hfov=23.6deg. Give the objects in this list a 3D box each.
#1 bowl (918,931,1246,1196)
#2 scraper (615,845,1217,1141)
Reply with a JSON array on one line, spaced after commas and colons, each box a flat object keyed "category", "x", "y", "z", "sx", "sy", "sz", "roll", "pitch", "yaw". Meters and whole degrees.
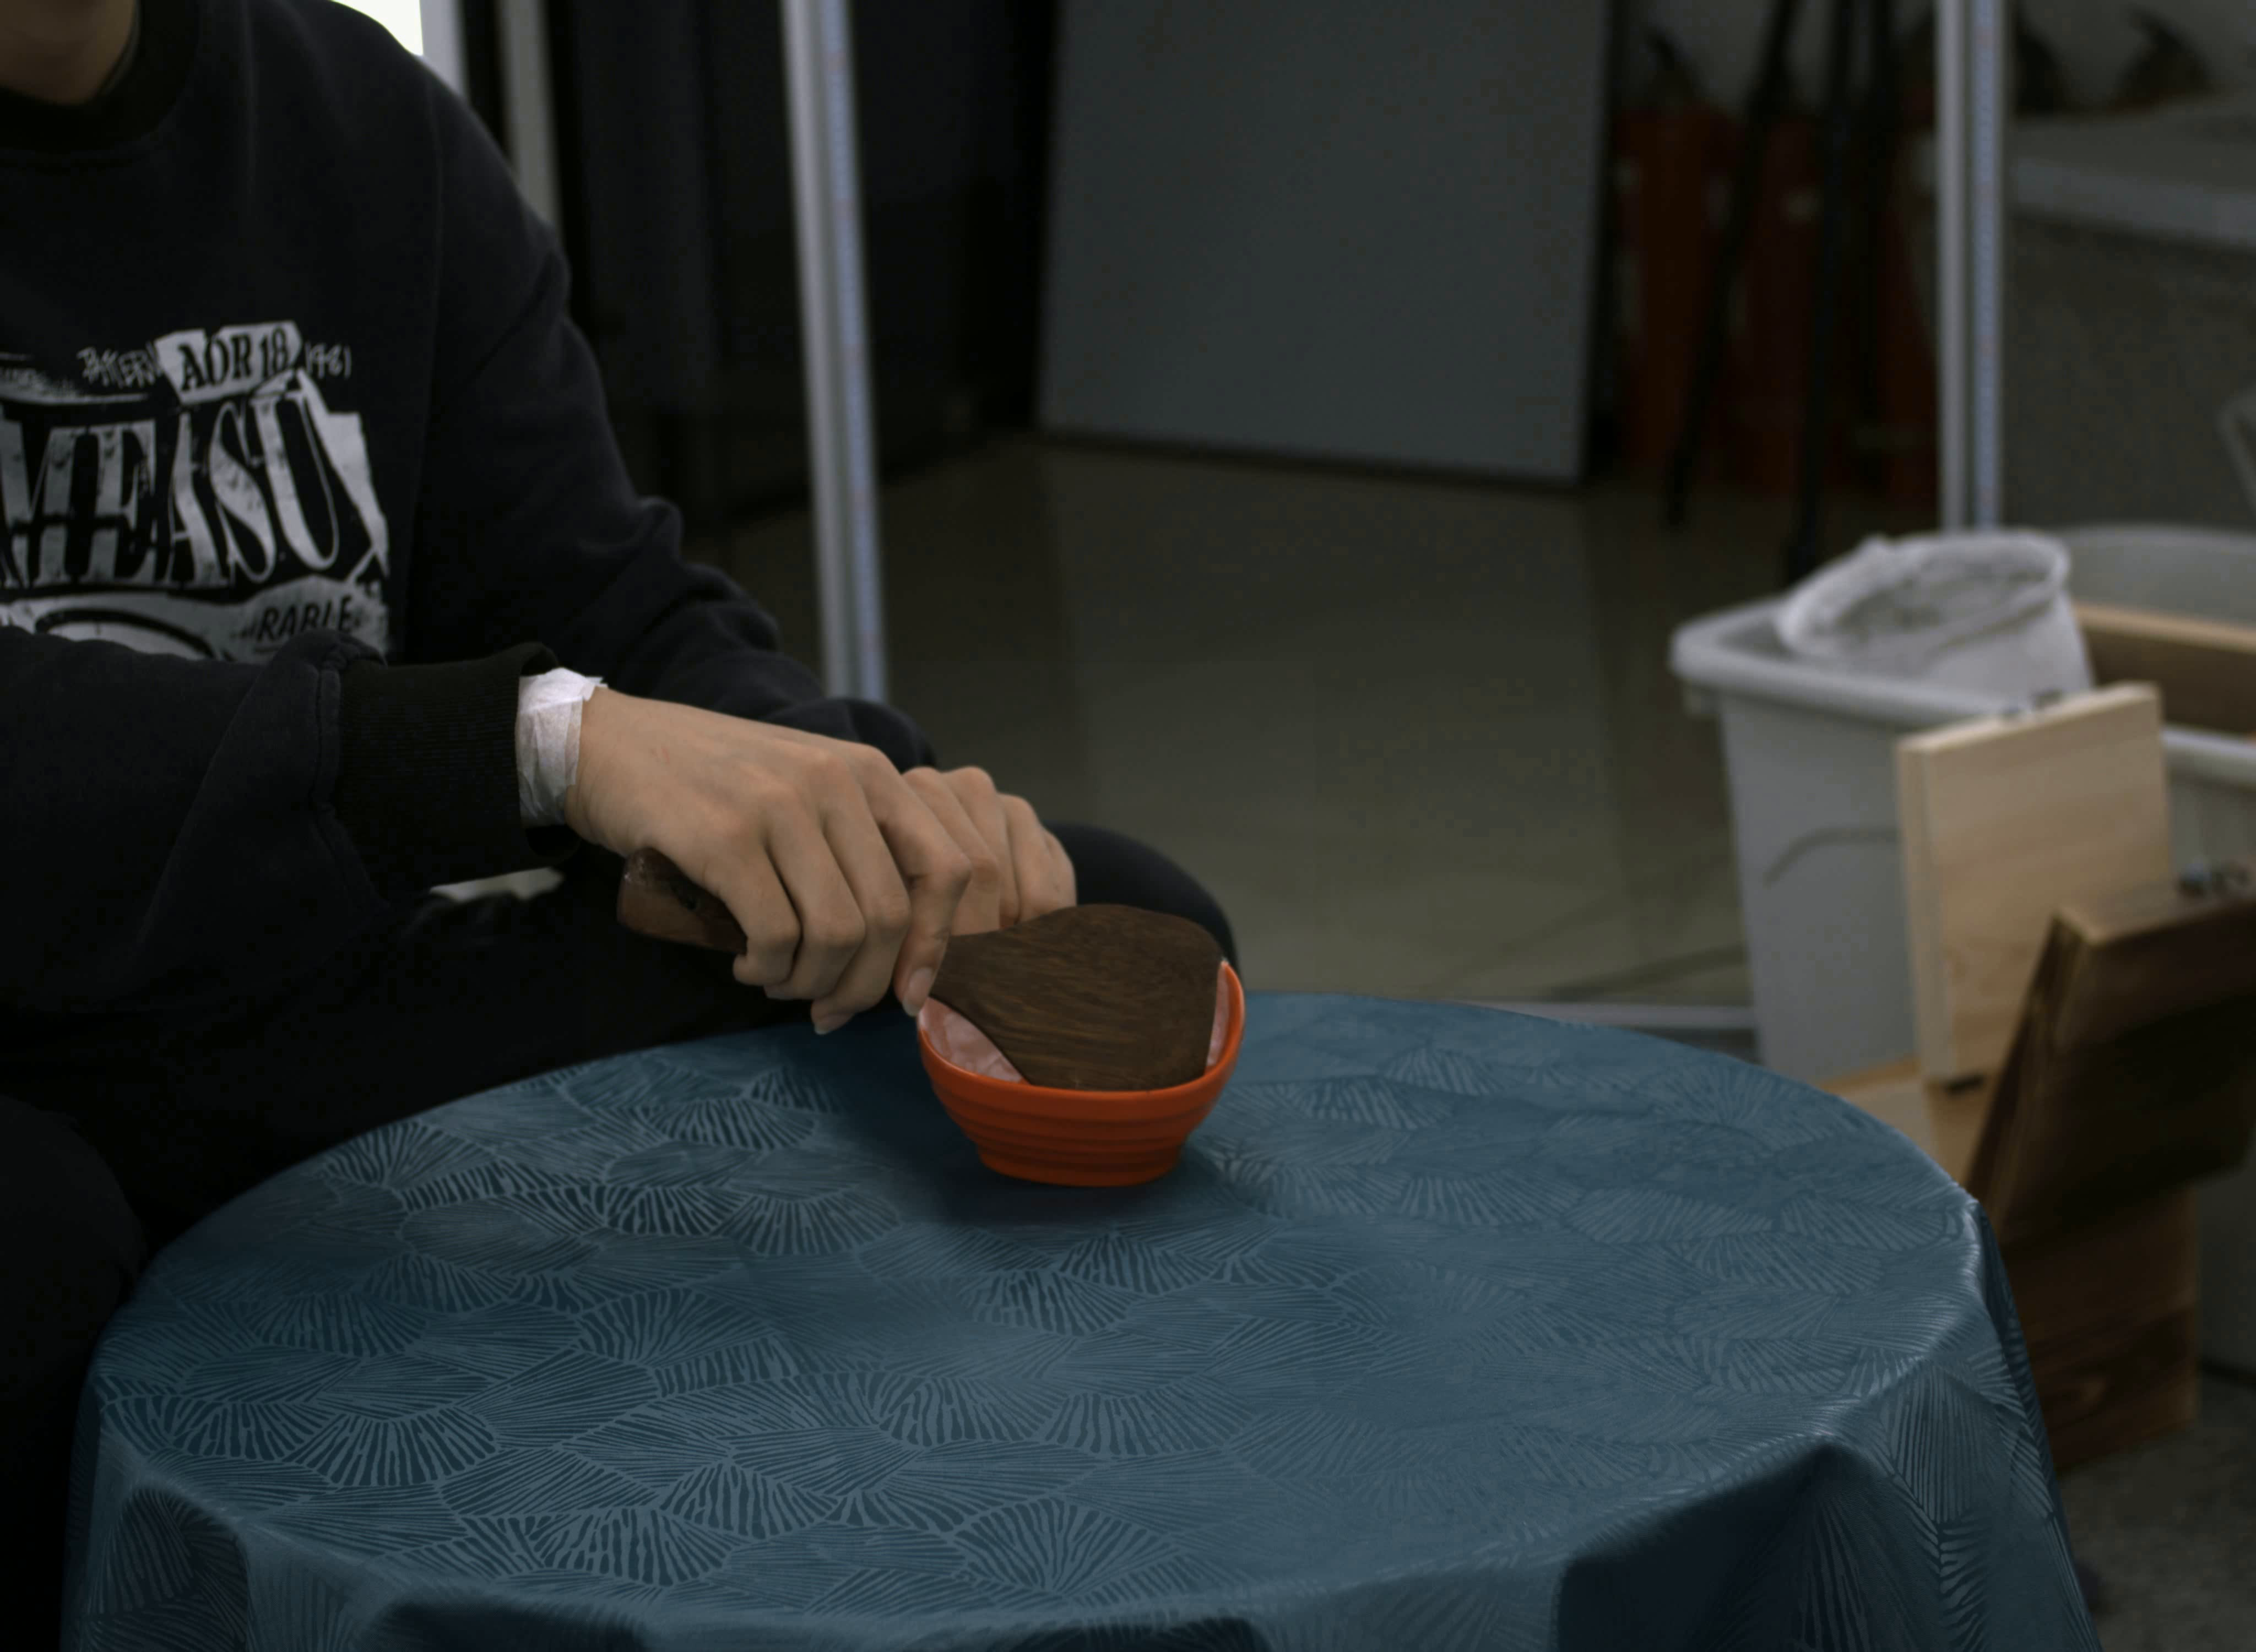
[{"category": "bowl", "x": -0.016, "y": 0.083, "z": 1.794, "sx": 0.117, "sy": 0.052, "sz": 0.119, "roll": 0, "pitch": 30, "yaw": -1}, {"category": "scraper", "x": -0.067, "y": 0.043, "z": 1.735, "sx": 0.207, "sy": 0.076, "sz": 0.011, "roll": 16, "pitch": -13, "yaw": -21}]
